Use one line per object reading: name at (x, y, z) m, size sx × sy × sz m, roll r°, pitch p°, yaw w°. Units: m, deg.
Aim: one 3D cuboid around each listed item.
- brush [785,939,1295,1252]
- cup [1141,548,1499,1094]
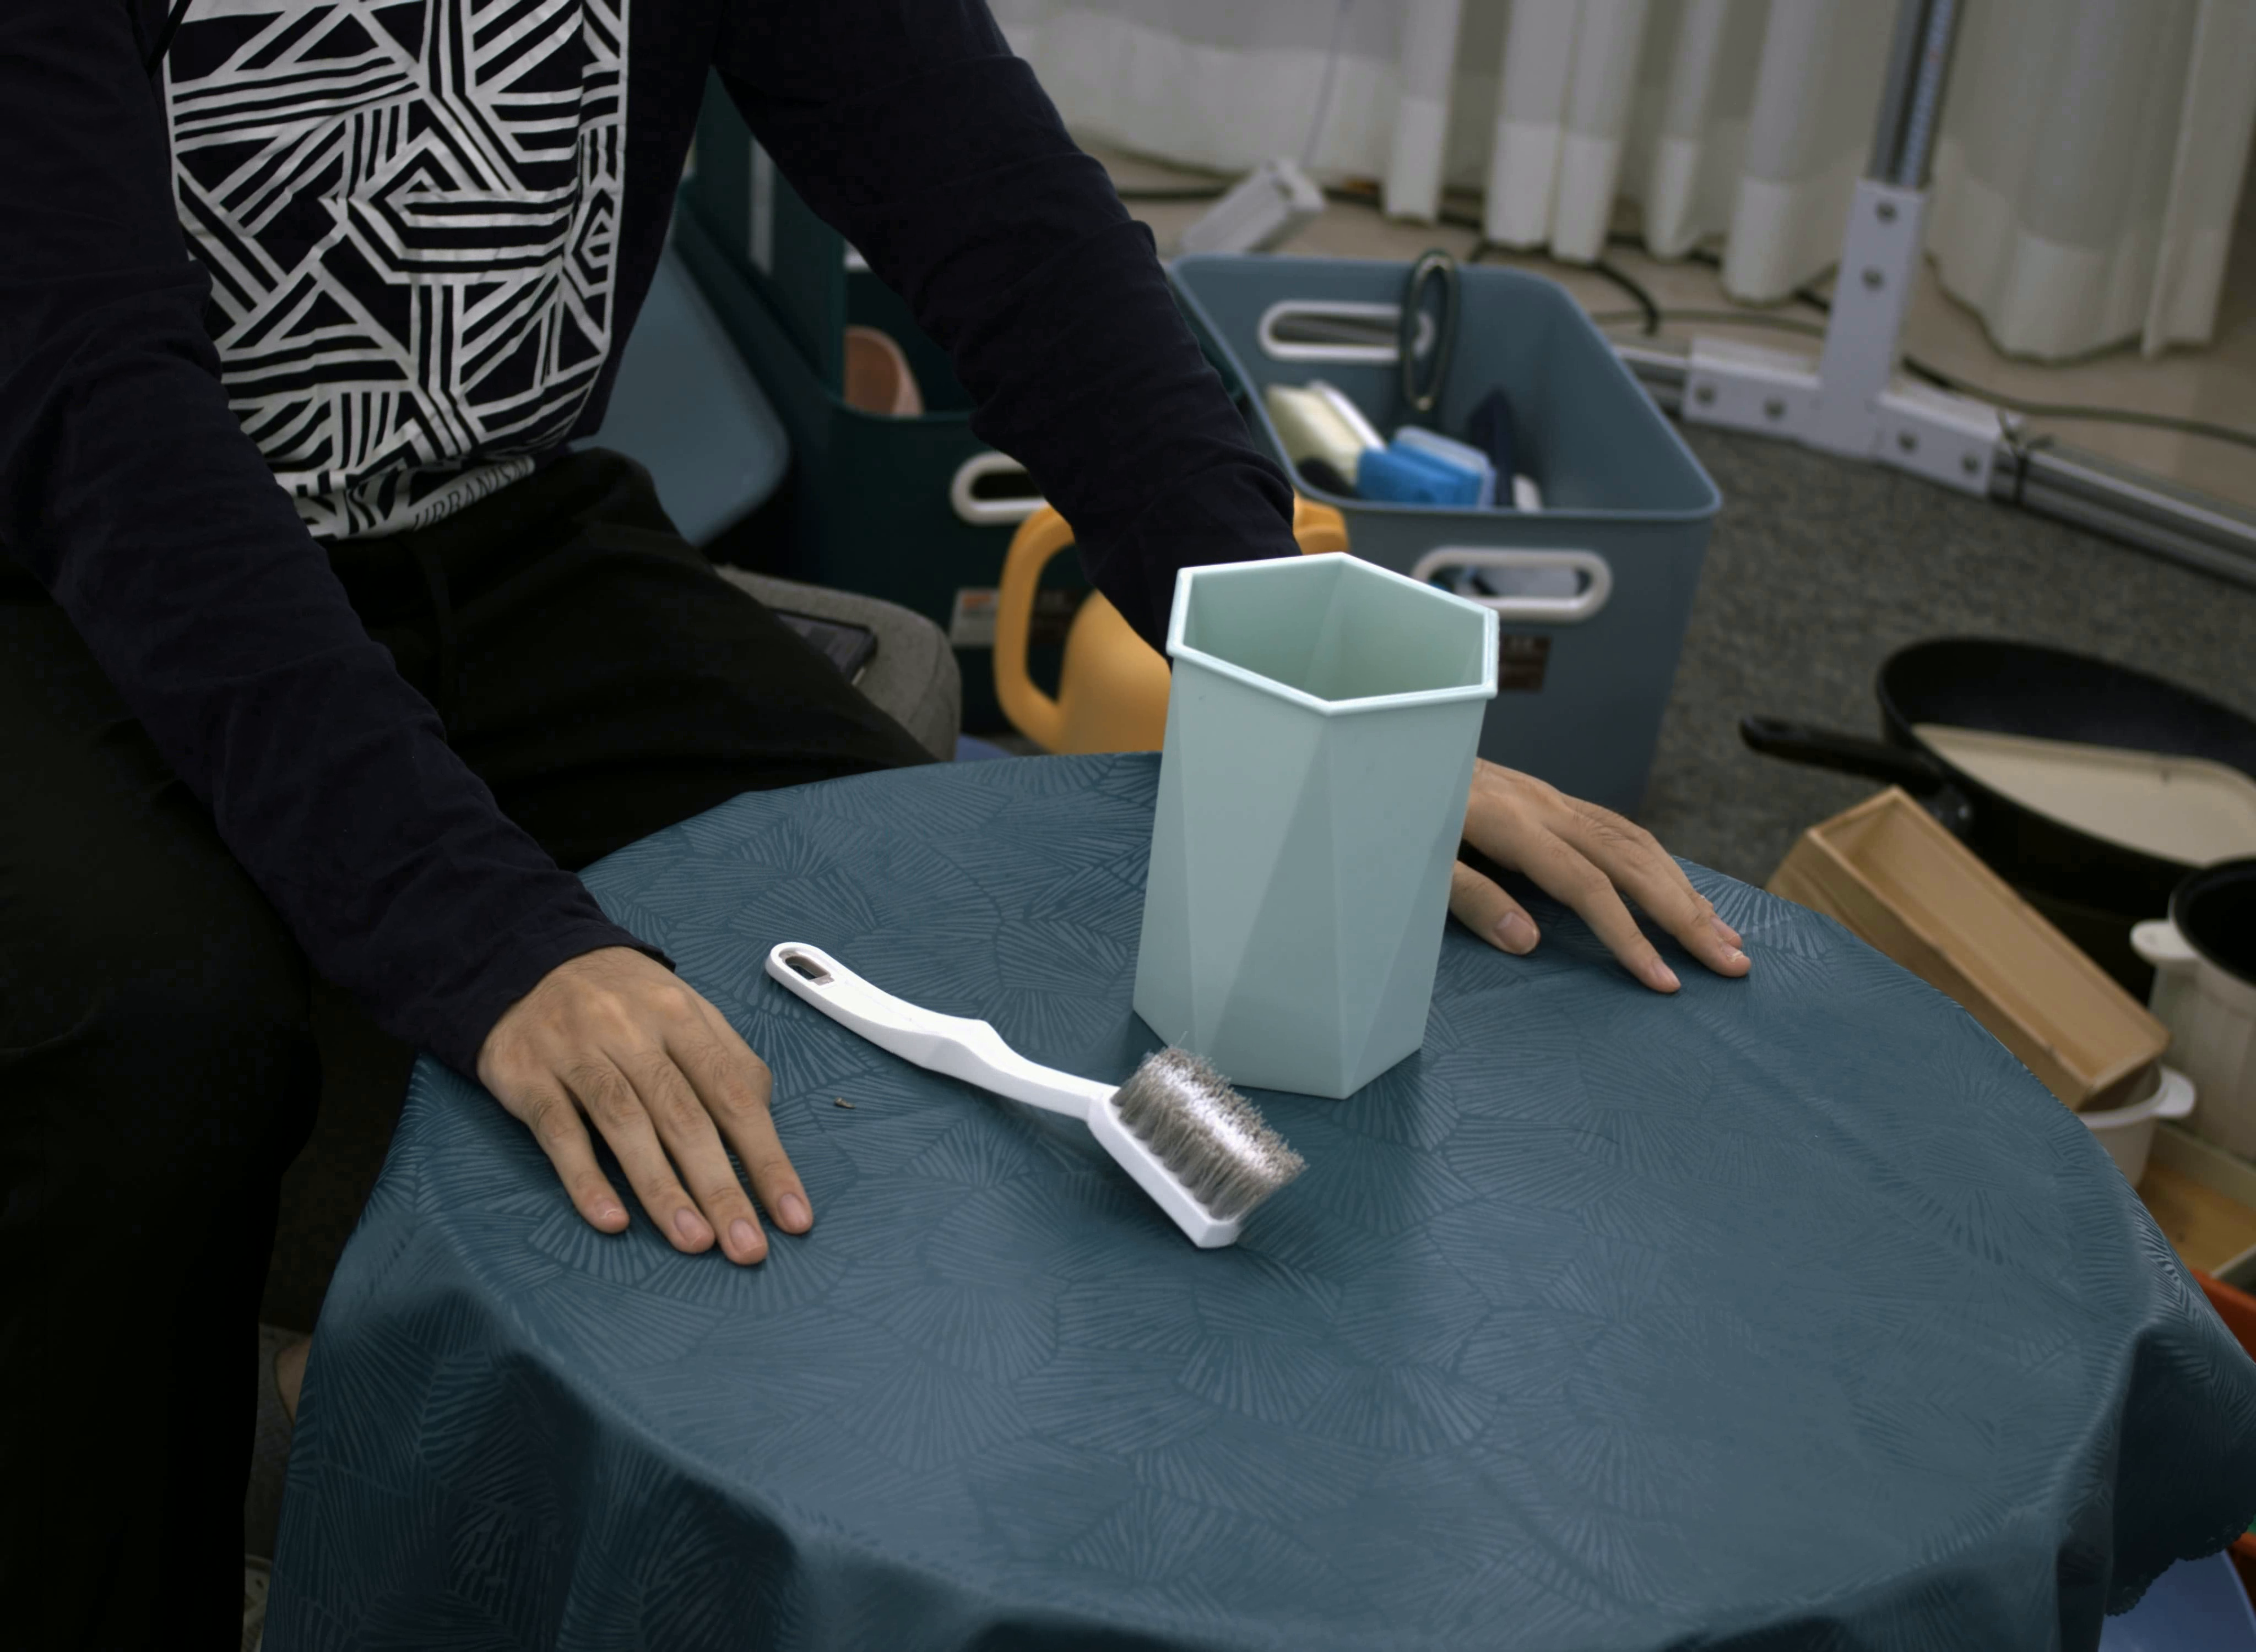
brush at (-0.036, 0.076, 1.840) m, size 0.034 × 0.050 × 0.245 m, roll -18°, pitch 36°, yaw -39°
cup at (0.065, 0.000, 1.883) m, size 0.115 × 0.162 × 0.132 m, roll 6°, pitch 26°, yaw 0°
